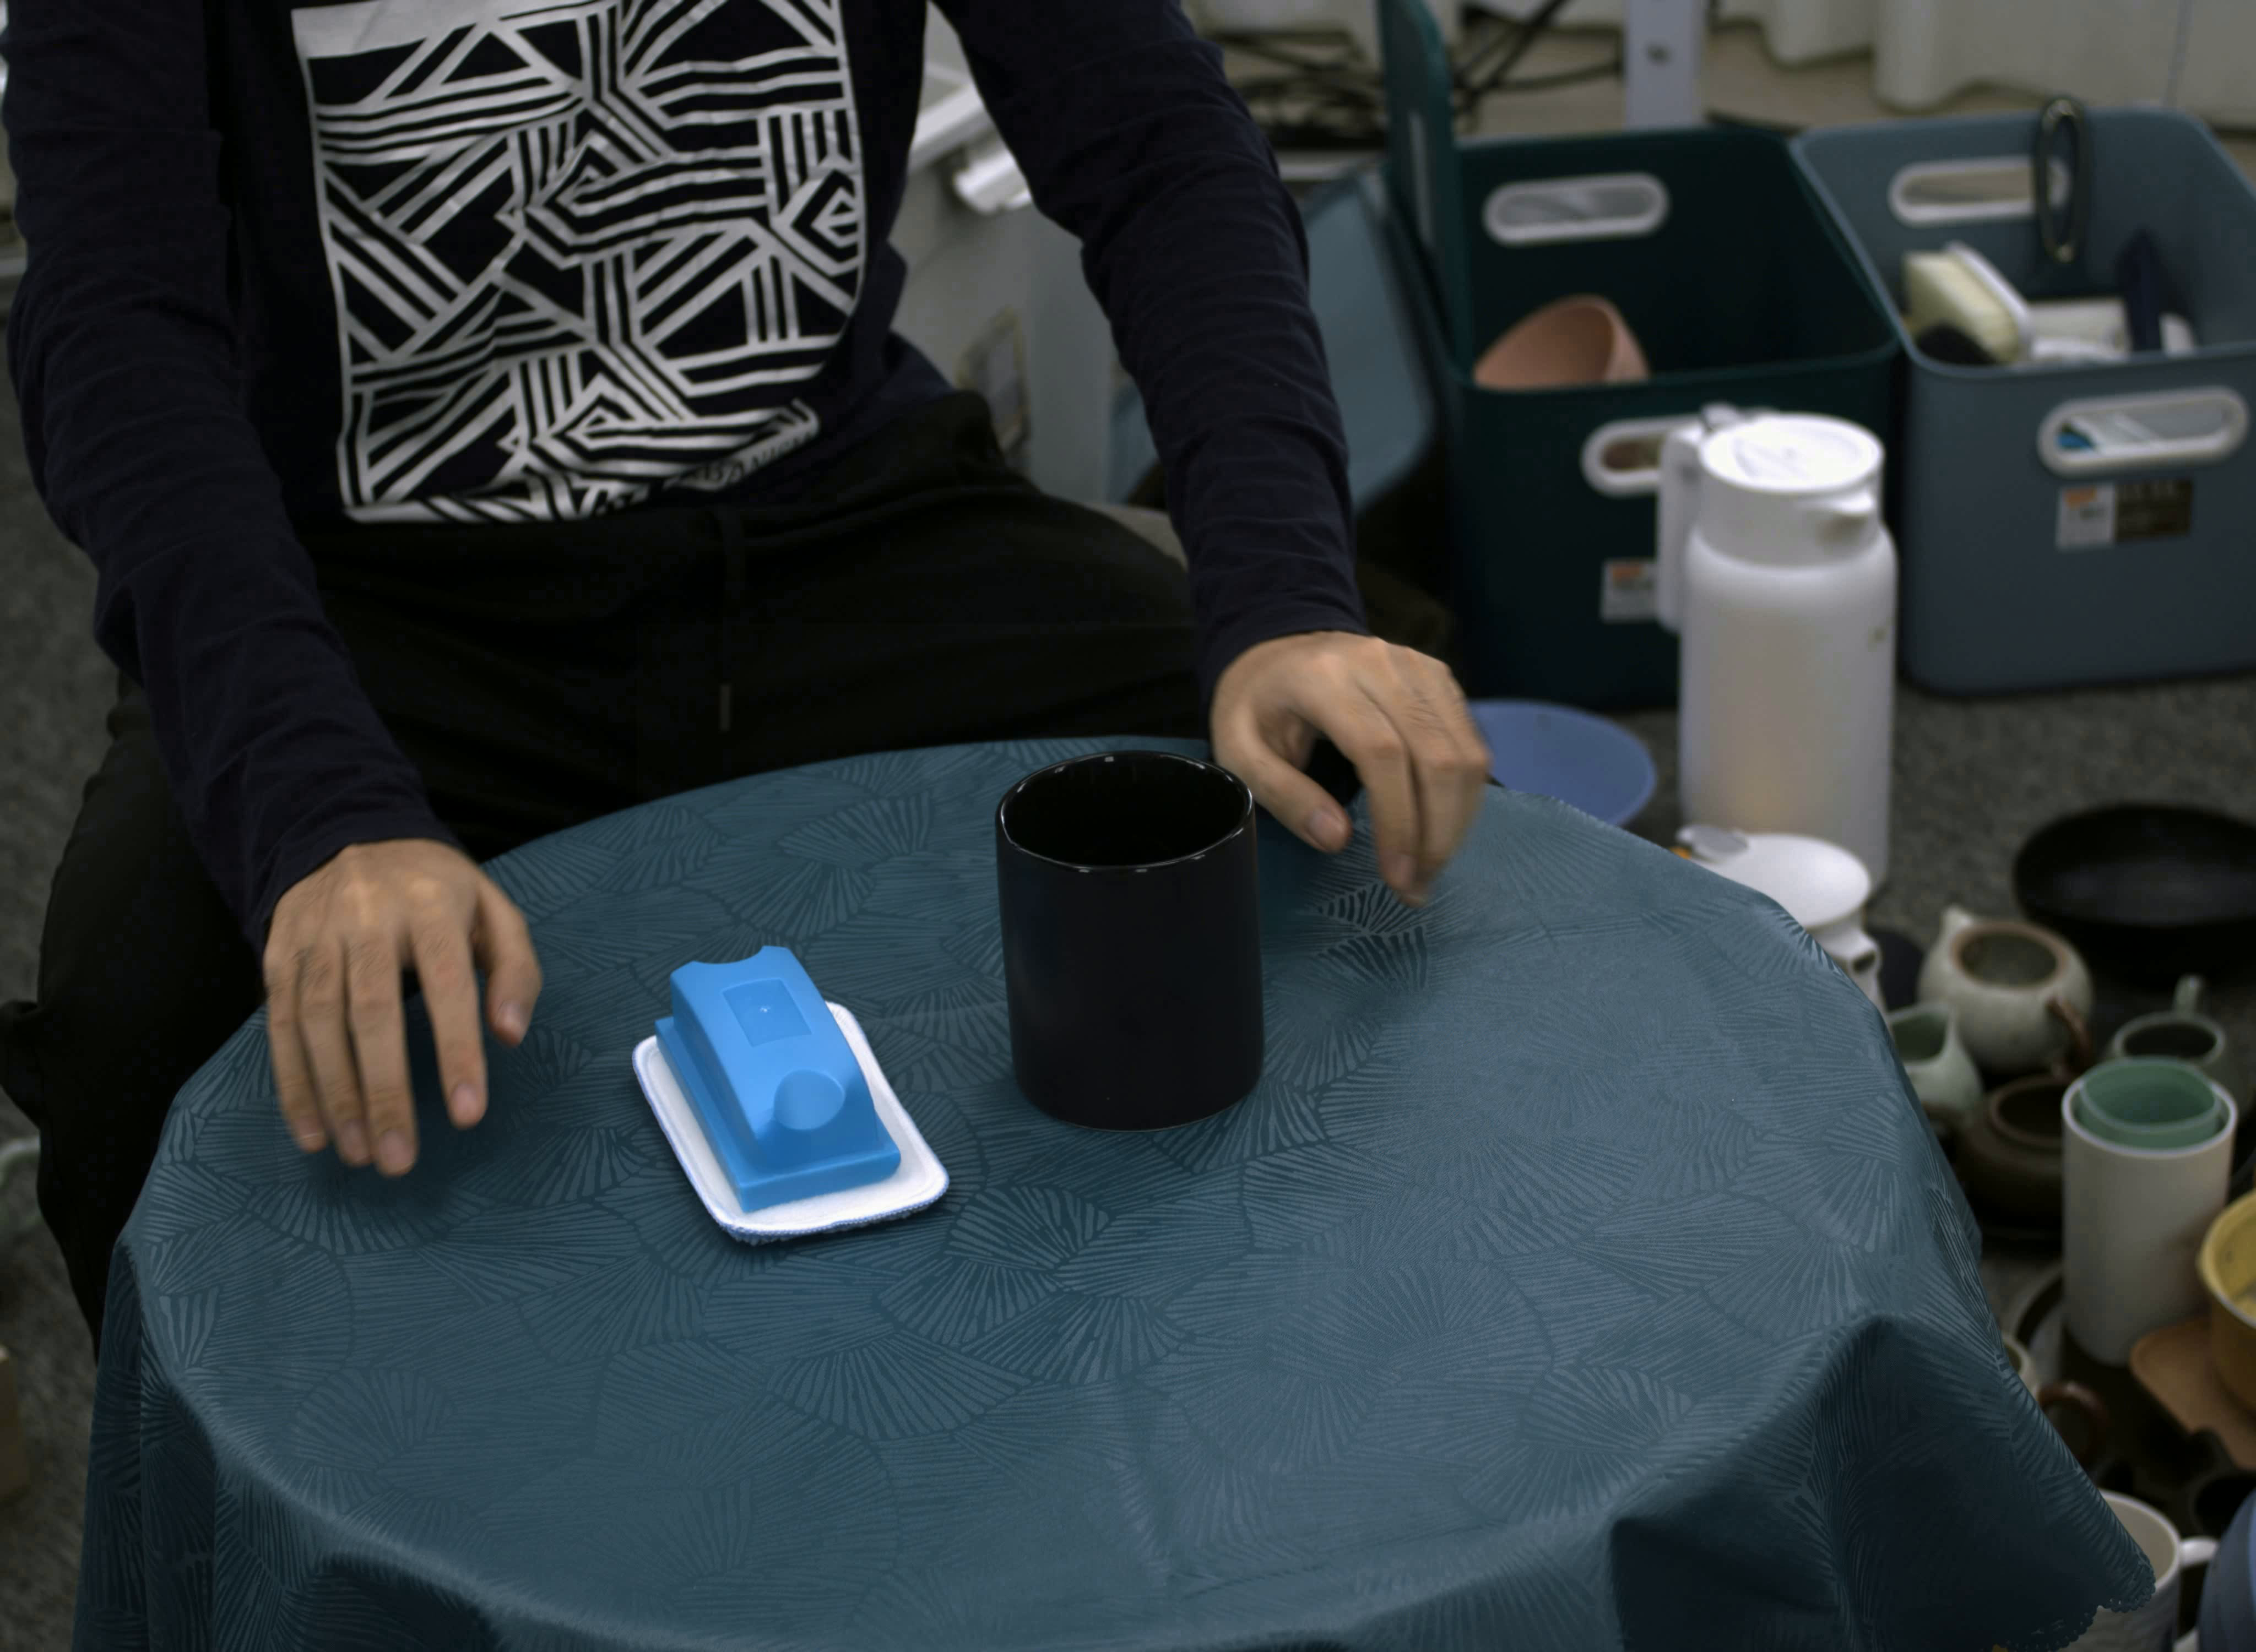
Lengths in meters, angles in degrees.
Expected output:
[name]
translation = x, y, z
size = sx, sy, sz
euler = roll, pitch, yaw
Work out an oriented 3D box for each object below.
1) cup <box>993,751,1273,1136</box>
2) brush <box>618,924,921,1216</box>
[cup]
translation = -0.001, 0.032, 1.924
size = 0.088, 0.104, 0.125
euler = -9, 25, -7
[brush]
translation = -0.120, 0.078, 1.891
size = 0.084, 0.055, 0.145
euler = -7, 30, -15
